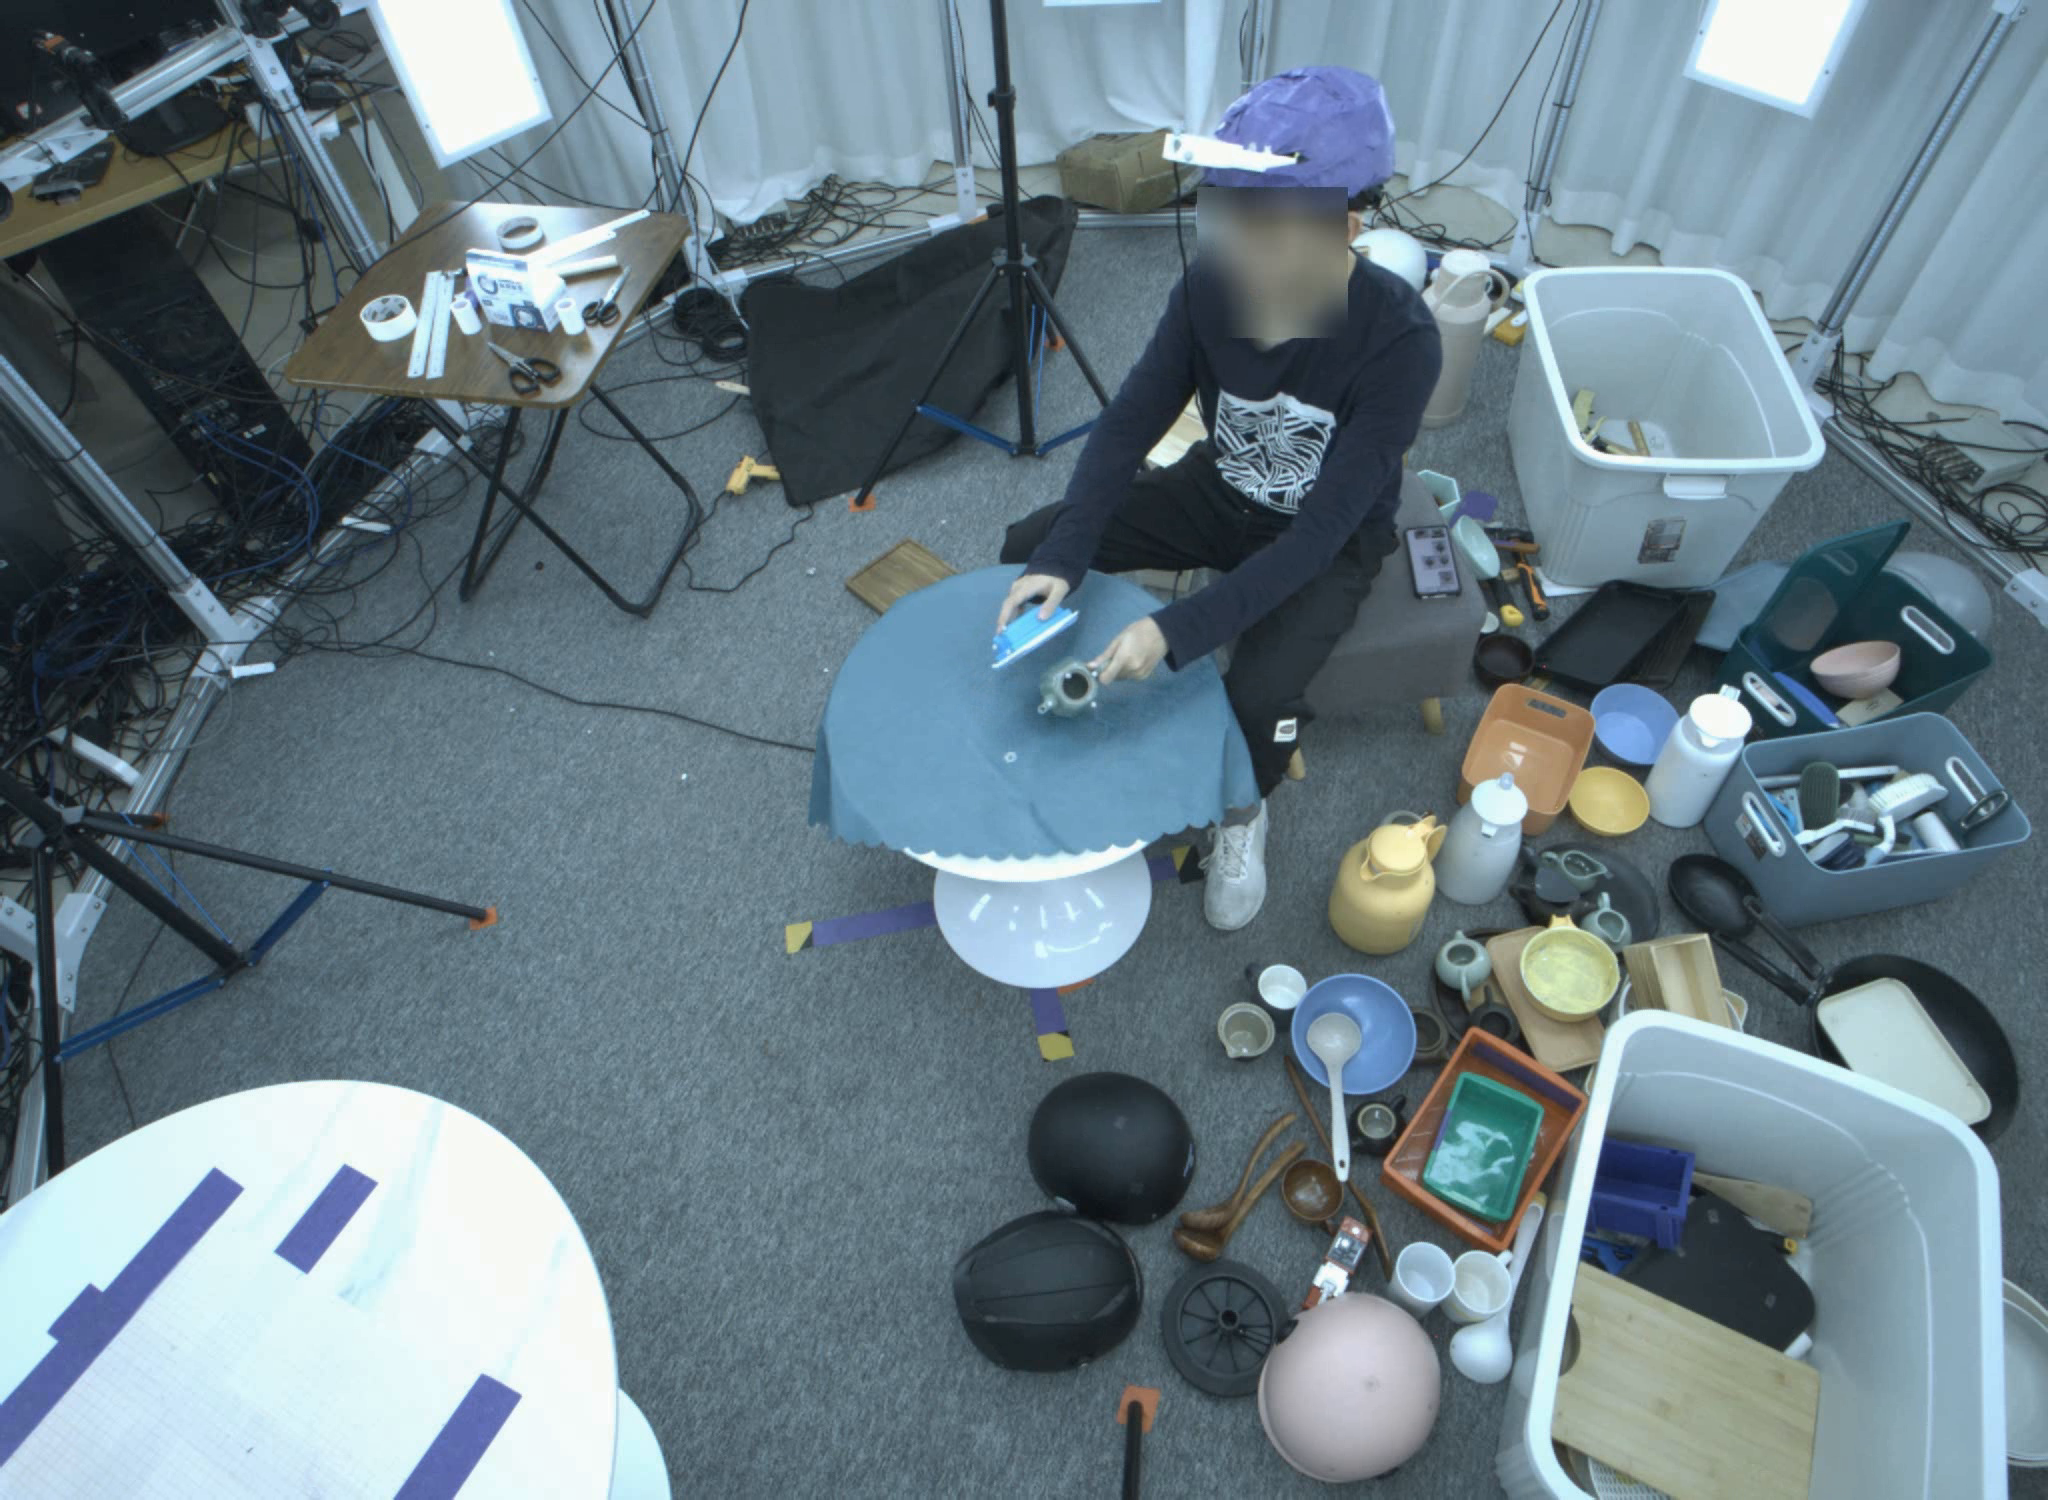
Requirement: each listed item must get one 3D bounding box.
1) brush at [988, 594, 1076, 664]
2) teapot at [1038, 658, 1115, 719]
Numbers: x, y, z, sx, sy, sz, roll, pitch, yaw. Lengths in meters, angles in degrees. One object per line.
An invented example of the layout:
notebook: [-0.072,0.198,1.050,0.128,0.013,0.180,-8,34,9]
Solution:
brush: [0.006,-0.179,1.778,0.145,0.082,0.056,-39,102,-29]
teapot: [0.070,-0.089,1.766,0.133,0.074,0.080,-34,96,-9]
